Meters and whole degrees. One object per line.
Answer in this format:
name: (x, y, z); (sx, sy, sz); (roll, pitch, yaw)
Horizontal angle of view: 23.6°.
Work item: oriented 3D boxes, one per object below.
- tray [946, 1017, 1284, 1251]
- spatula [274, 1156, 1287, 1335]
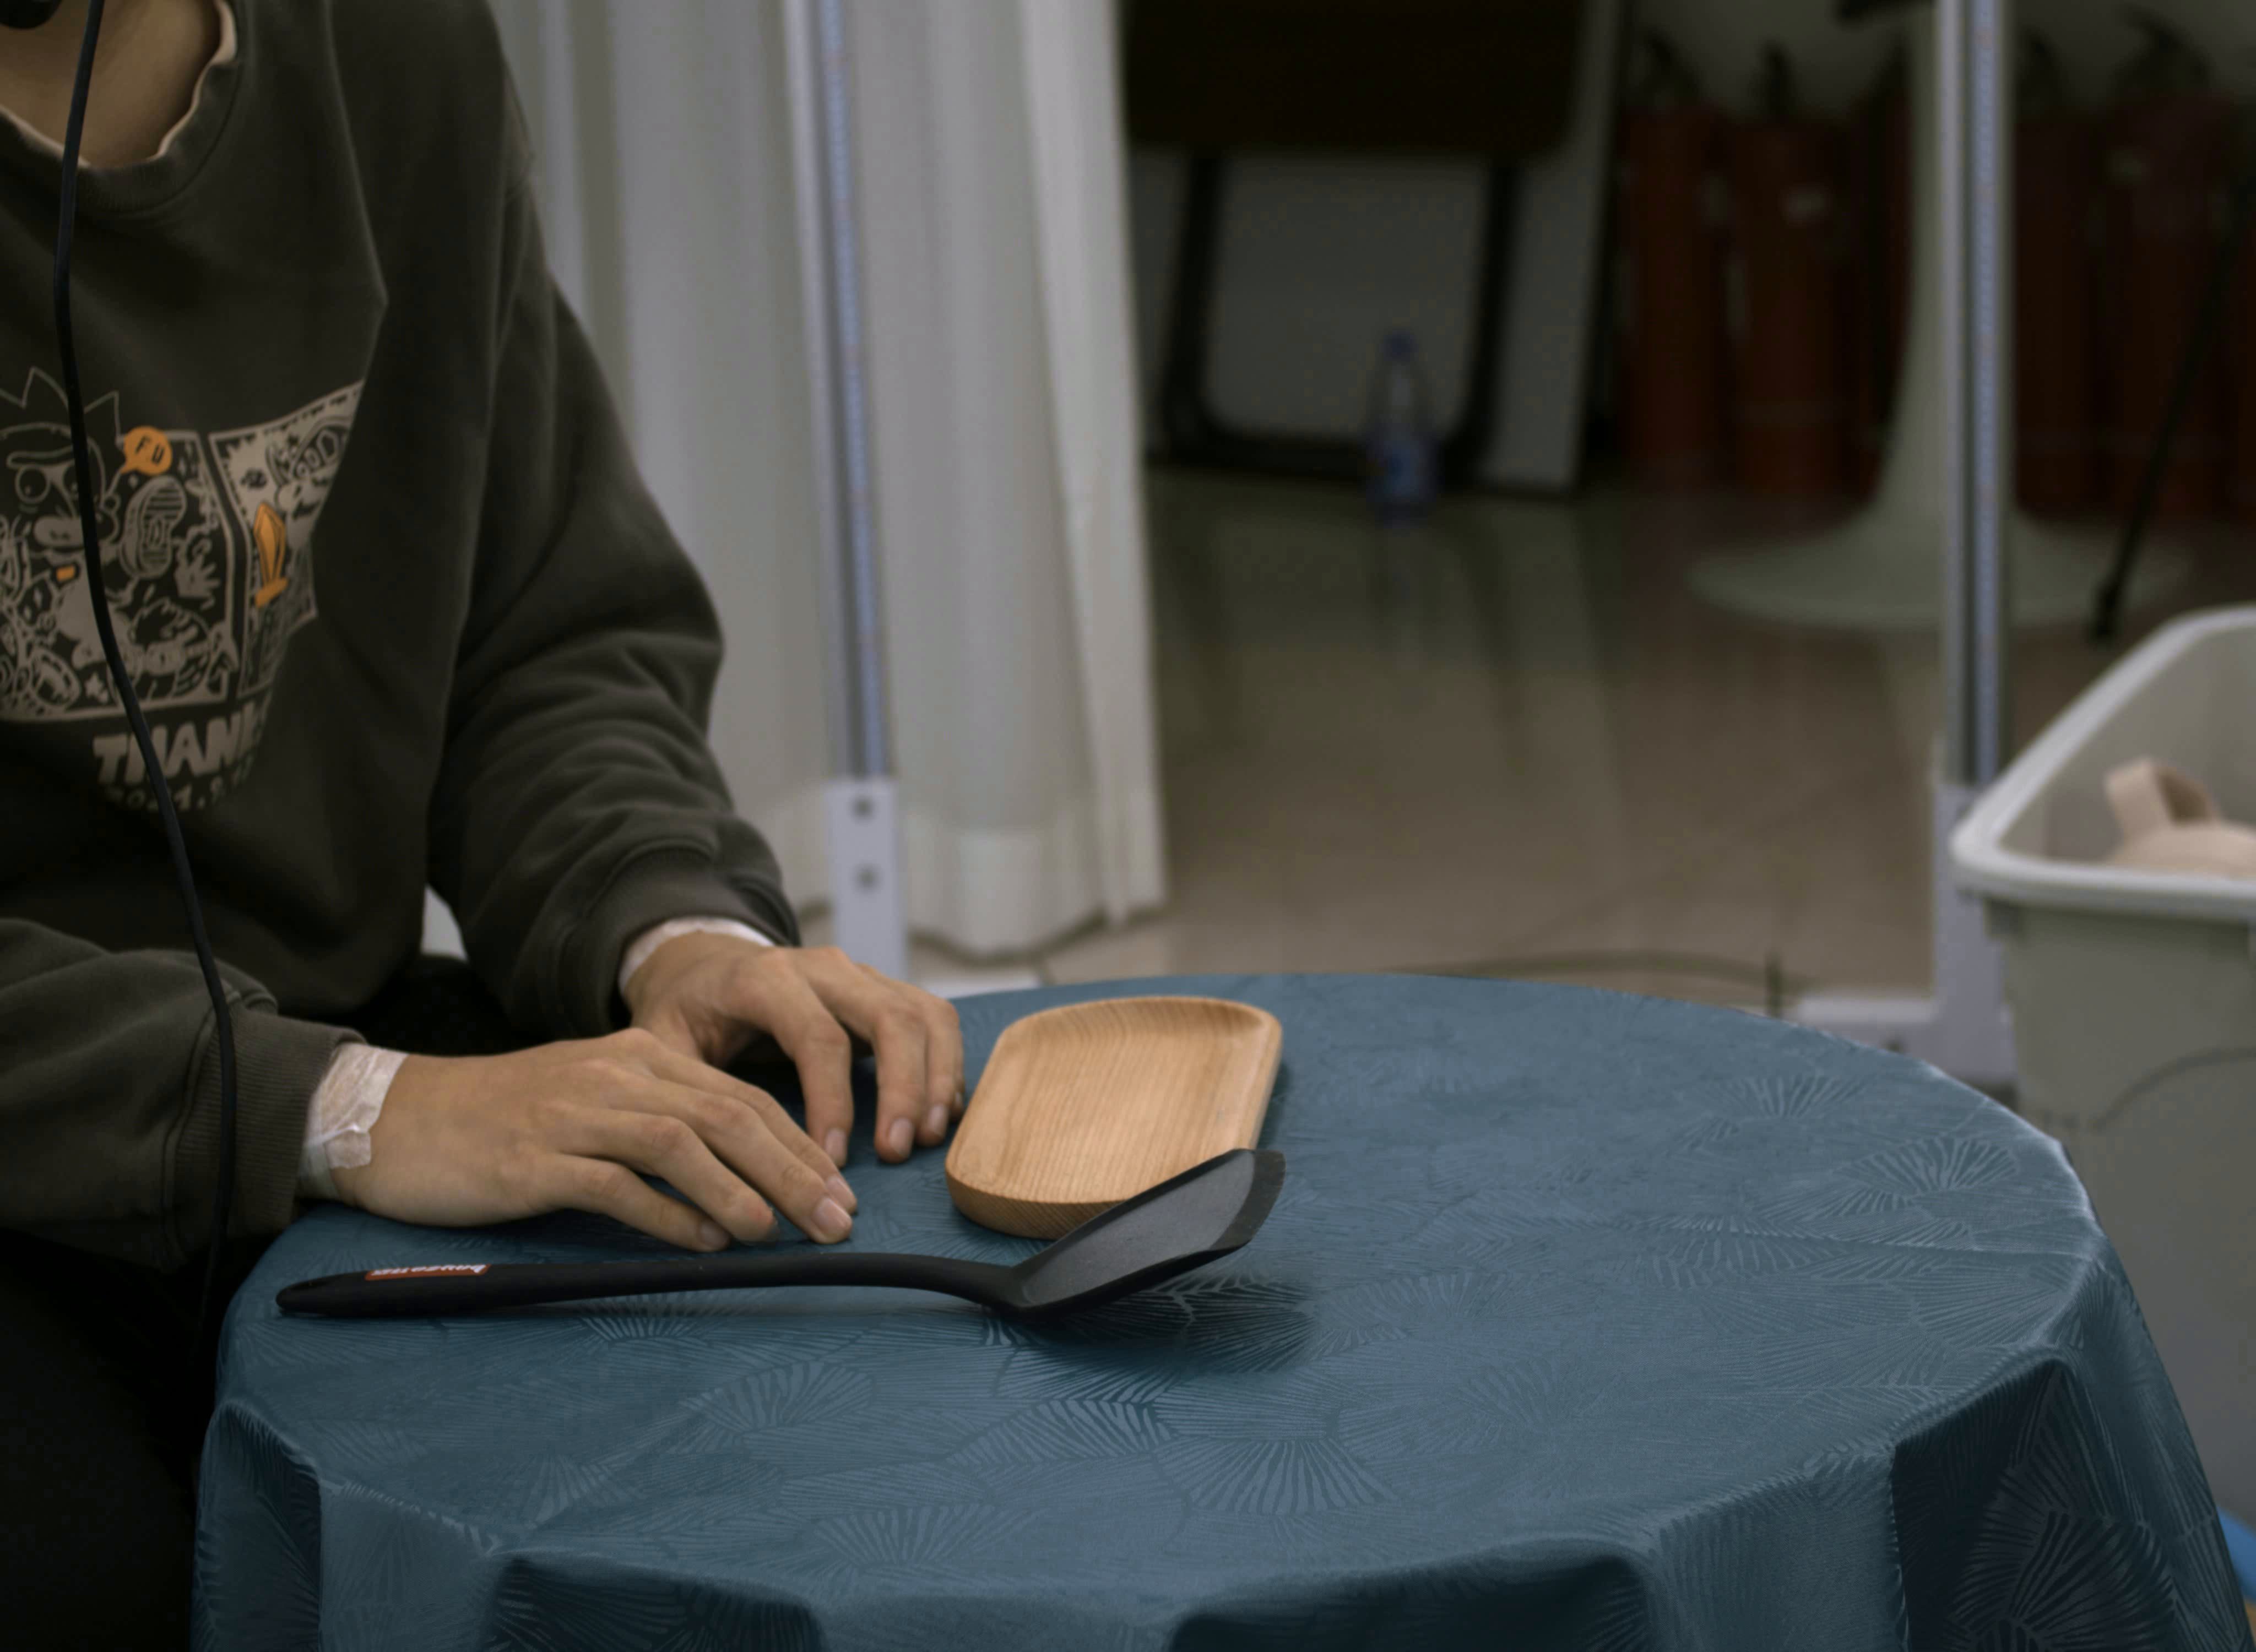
tray: (-0.002, 0.102, 1.826); (0.101, 0.020, 0.230); (-3, 15, 7)
spatula: (-0.110, 0.135, 1.676); (0.324, 0.041, 0.099); (-1, 12, 11)
